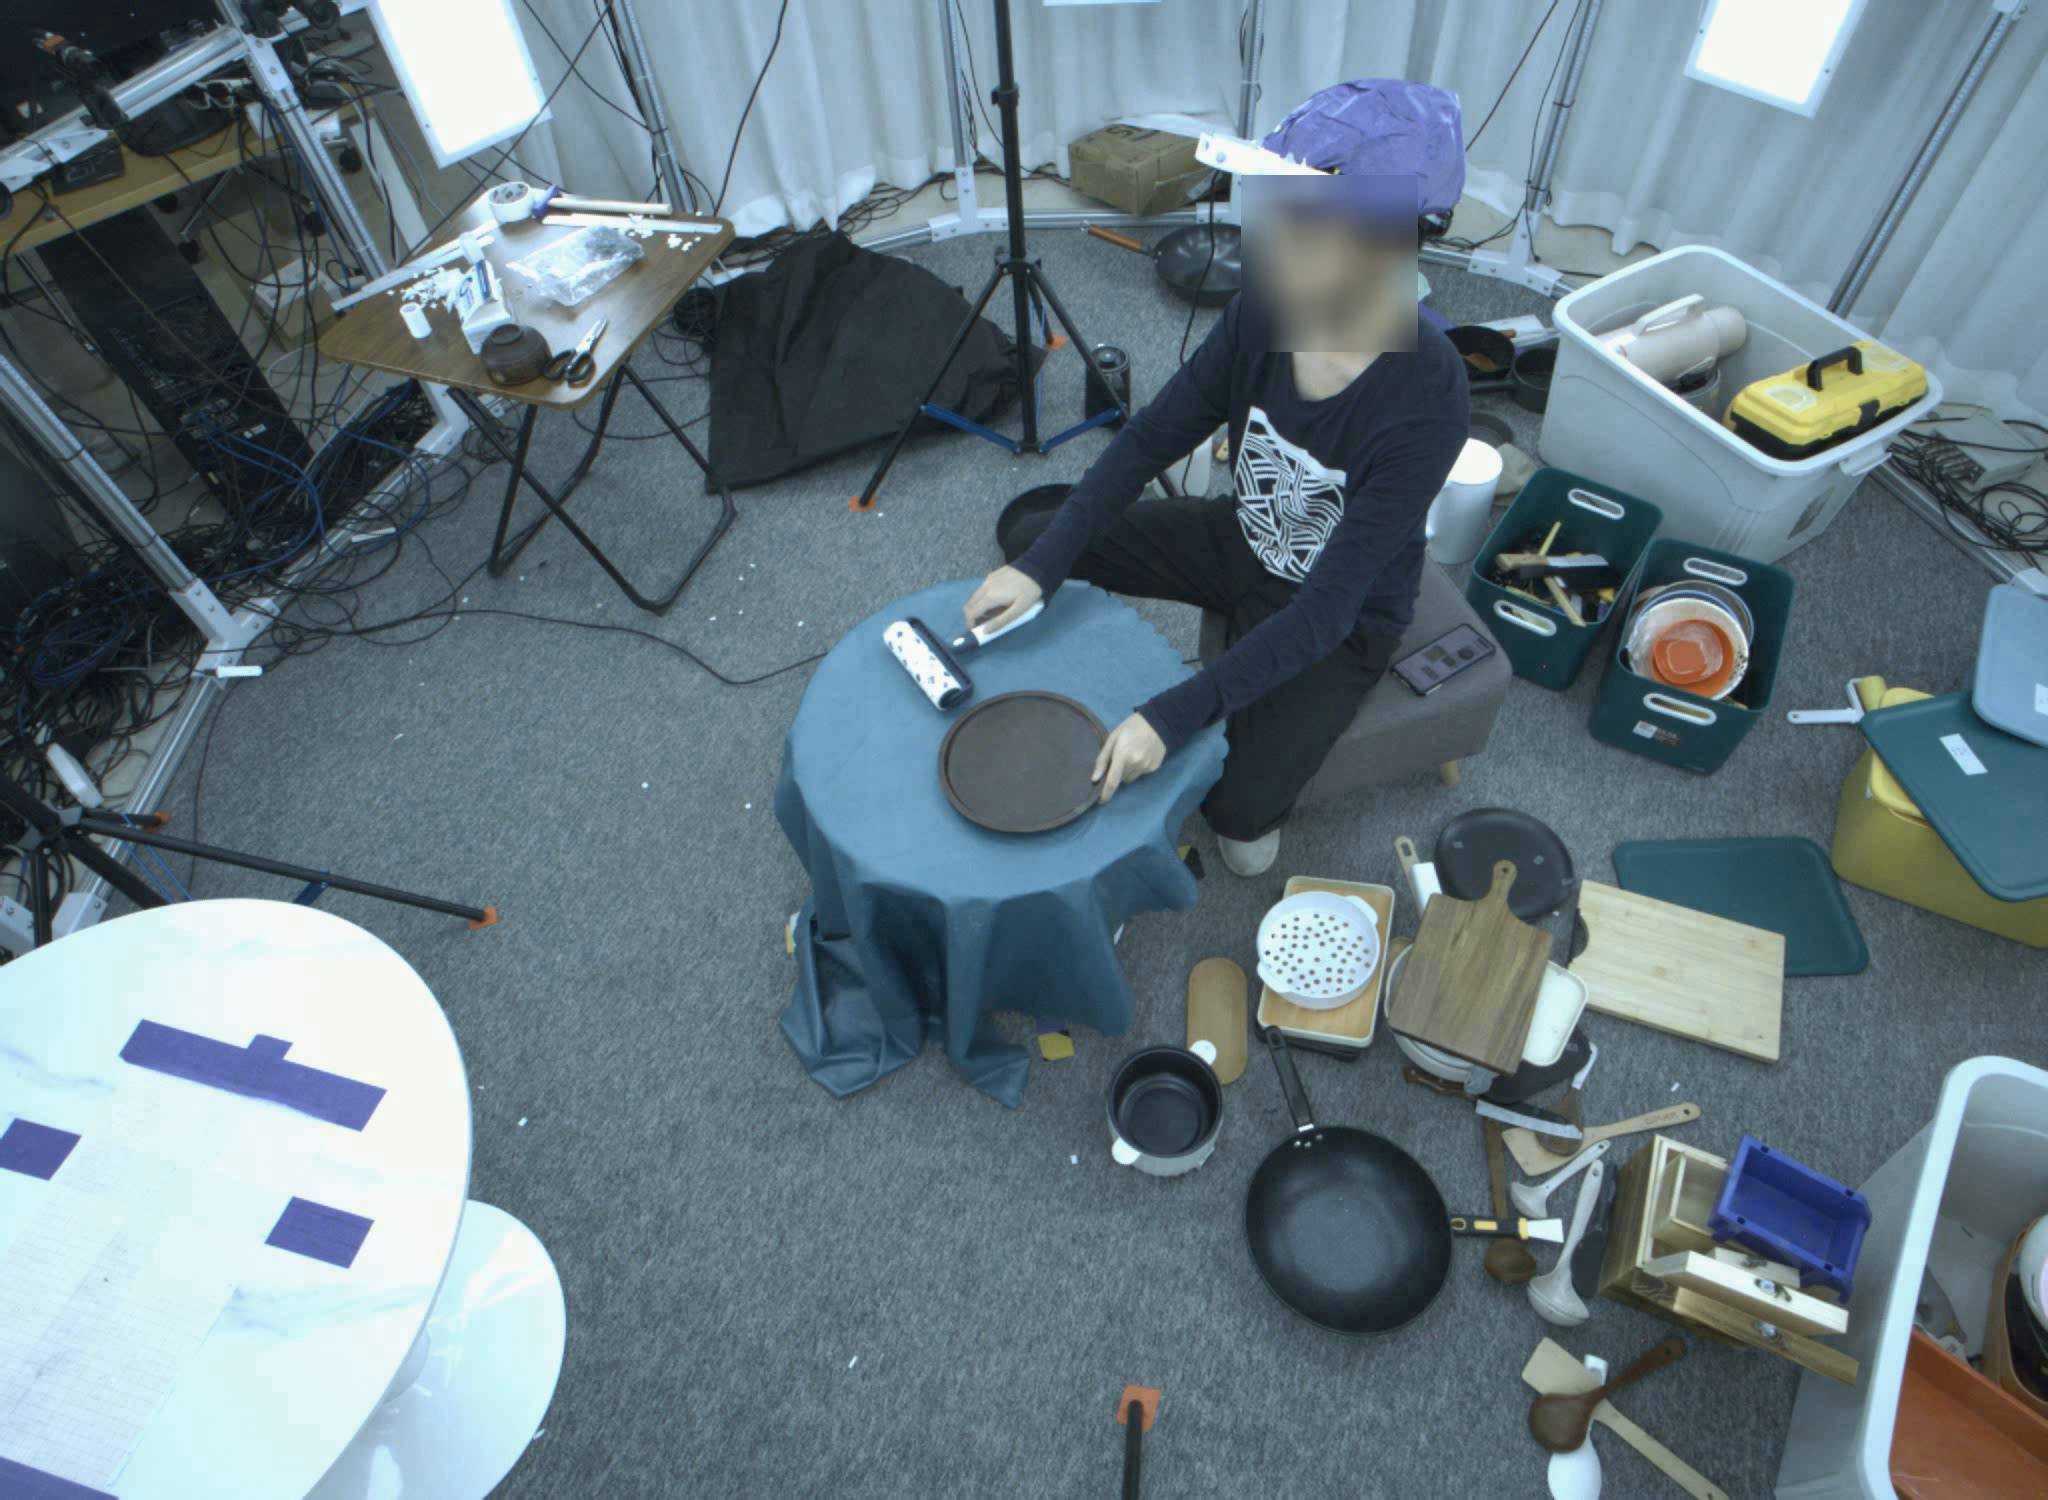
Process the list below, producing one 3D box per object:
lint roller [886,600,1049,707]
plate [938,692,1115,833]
[{"bbox_3d":[-0.070,-0.179,1.893,0.249,0.051,0.173,-30,58,-18],"label":"lint roller"},{"bbox_3d":[0.003,0.016,1.766,0.255,0.029,0.252,0,53,1],"label":"plate"}]
